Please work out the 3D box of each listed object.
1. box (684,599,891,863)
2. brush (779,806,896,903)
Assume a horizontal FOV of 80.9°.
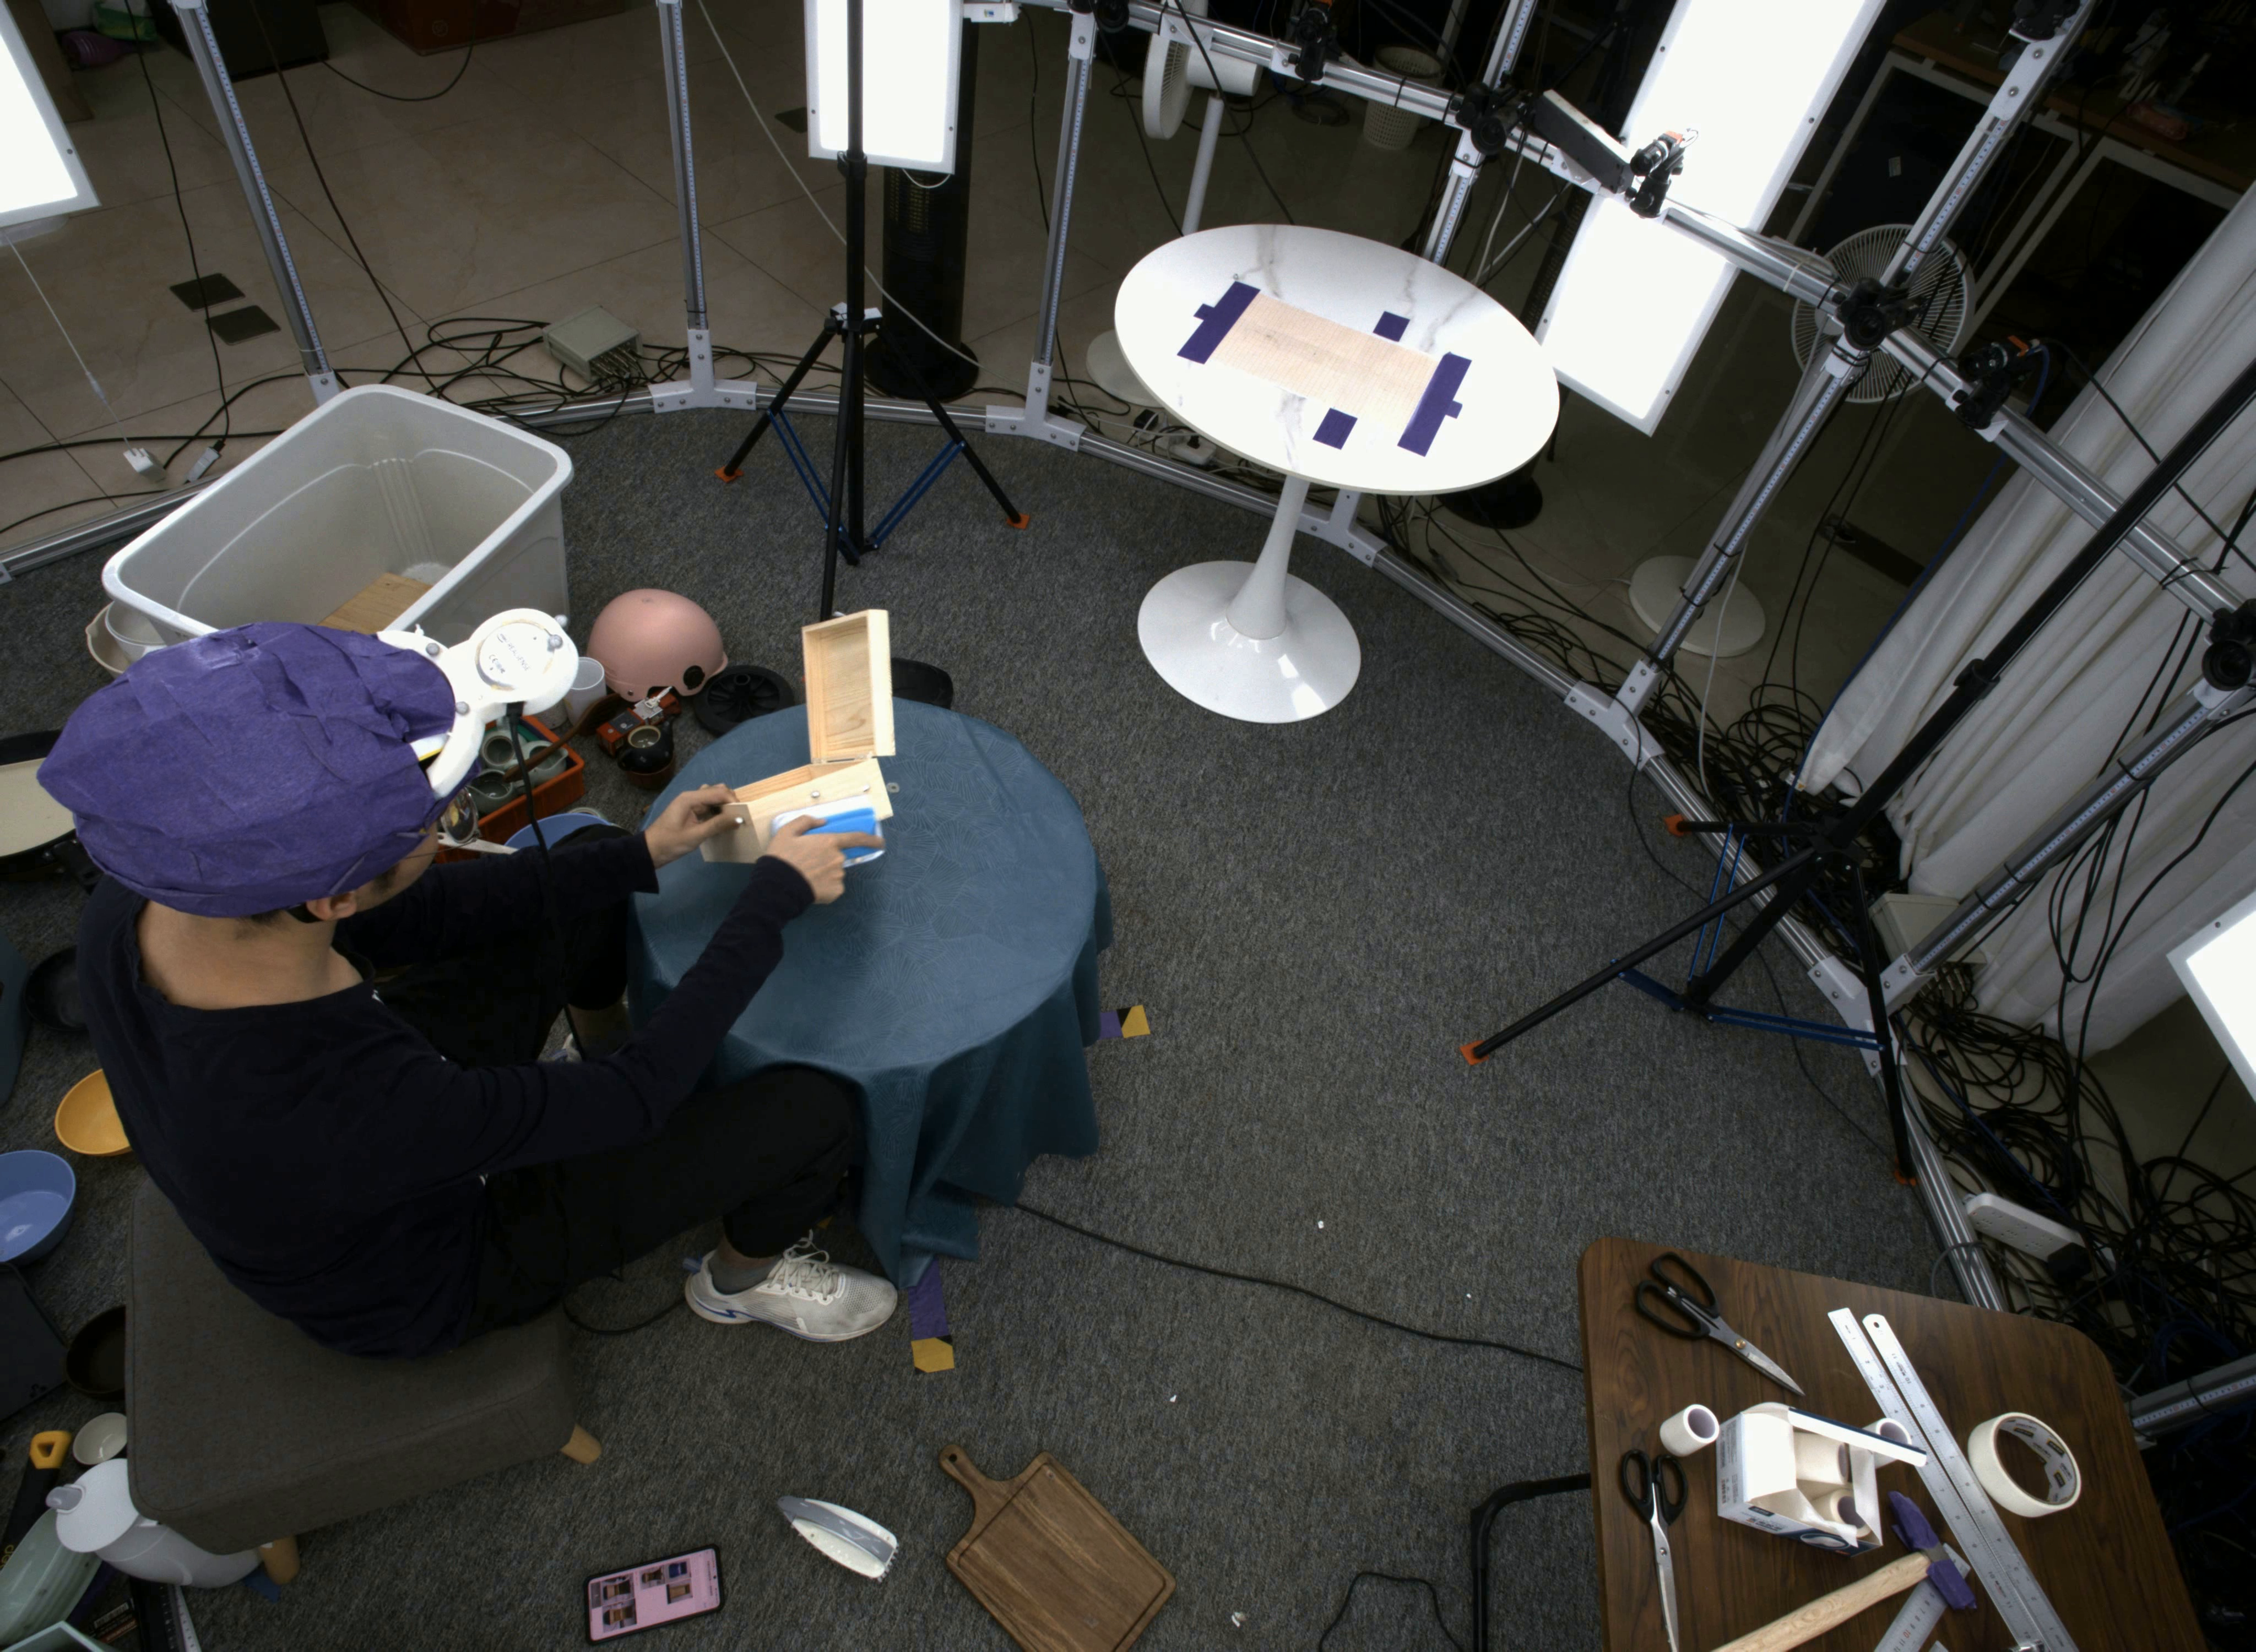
[{"bbox_3d":[-0.422,-0.117,1.605,0.267,0.176,0.259,-27,107,-40],"label":"box"},{"bbox_3d":[-0.338,0.028,1.538,0.145,0.054,0.085,-27,100,-41],"label":"brush"}]
